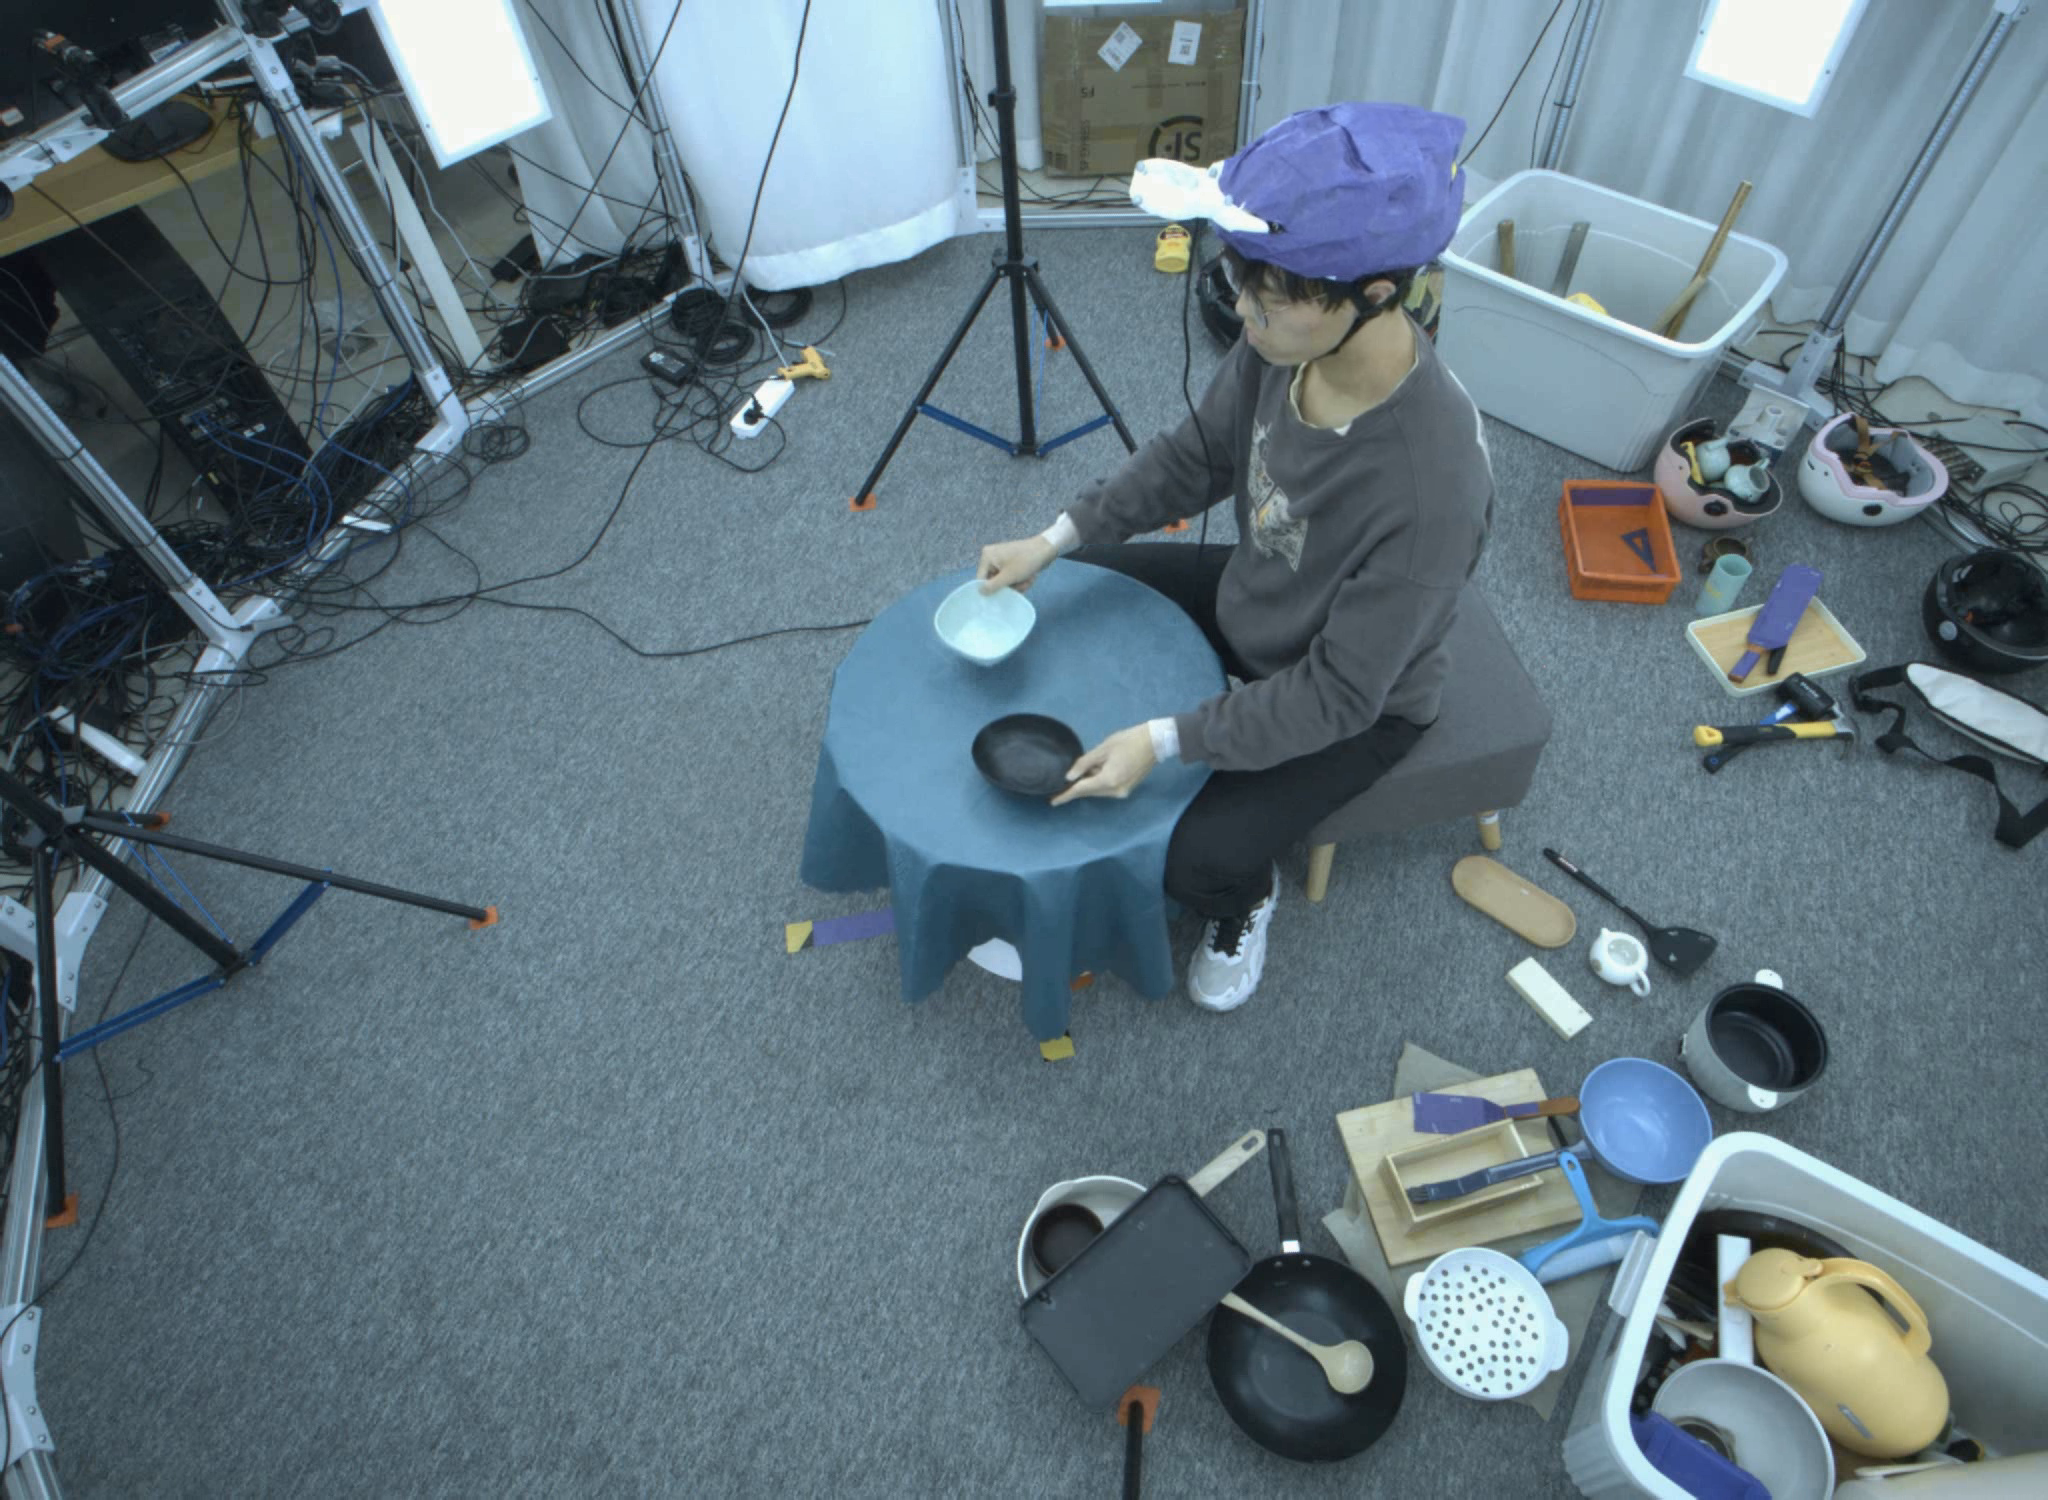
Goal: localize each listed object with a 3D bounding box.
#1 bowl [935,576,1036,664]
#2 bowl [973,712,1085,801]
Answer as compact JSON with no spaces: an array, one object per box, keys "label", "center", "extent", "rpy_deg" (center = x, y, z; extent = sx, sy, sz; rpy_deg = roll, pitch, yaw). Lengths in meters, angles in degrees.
[{"label":"bowl","center":[-0.057,-0.185,1.843],"extent":[0.151,0.059,0.150],"rpy_deg":[1,60,0]},{"label":"bowl","center":[0.007,0.020,1.730],"extent":[0.167,0.067,0.138],"rpy_deg":[23,58,21]}]
